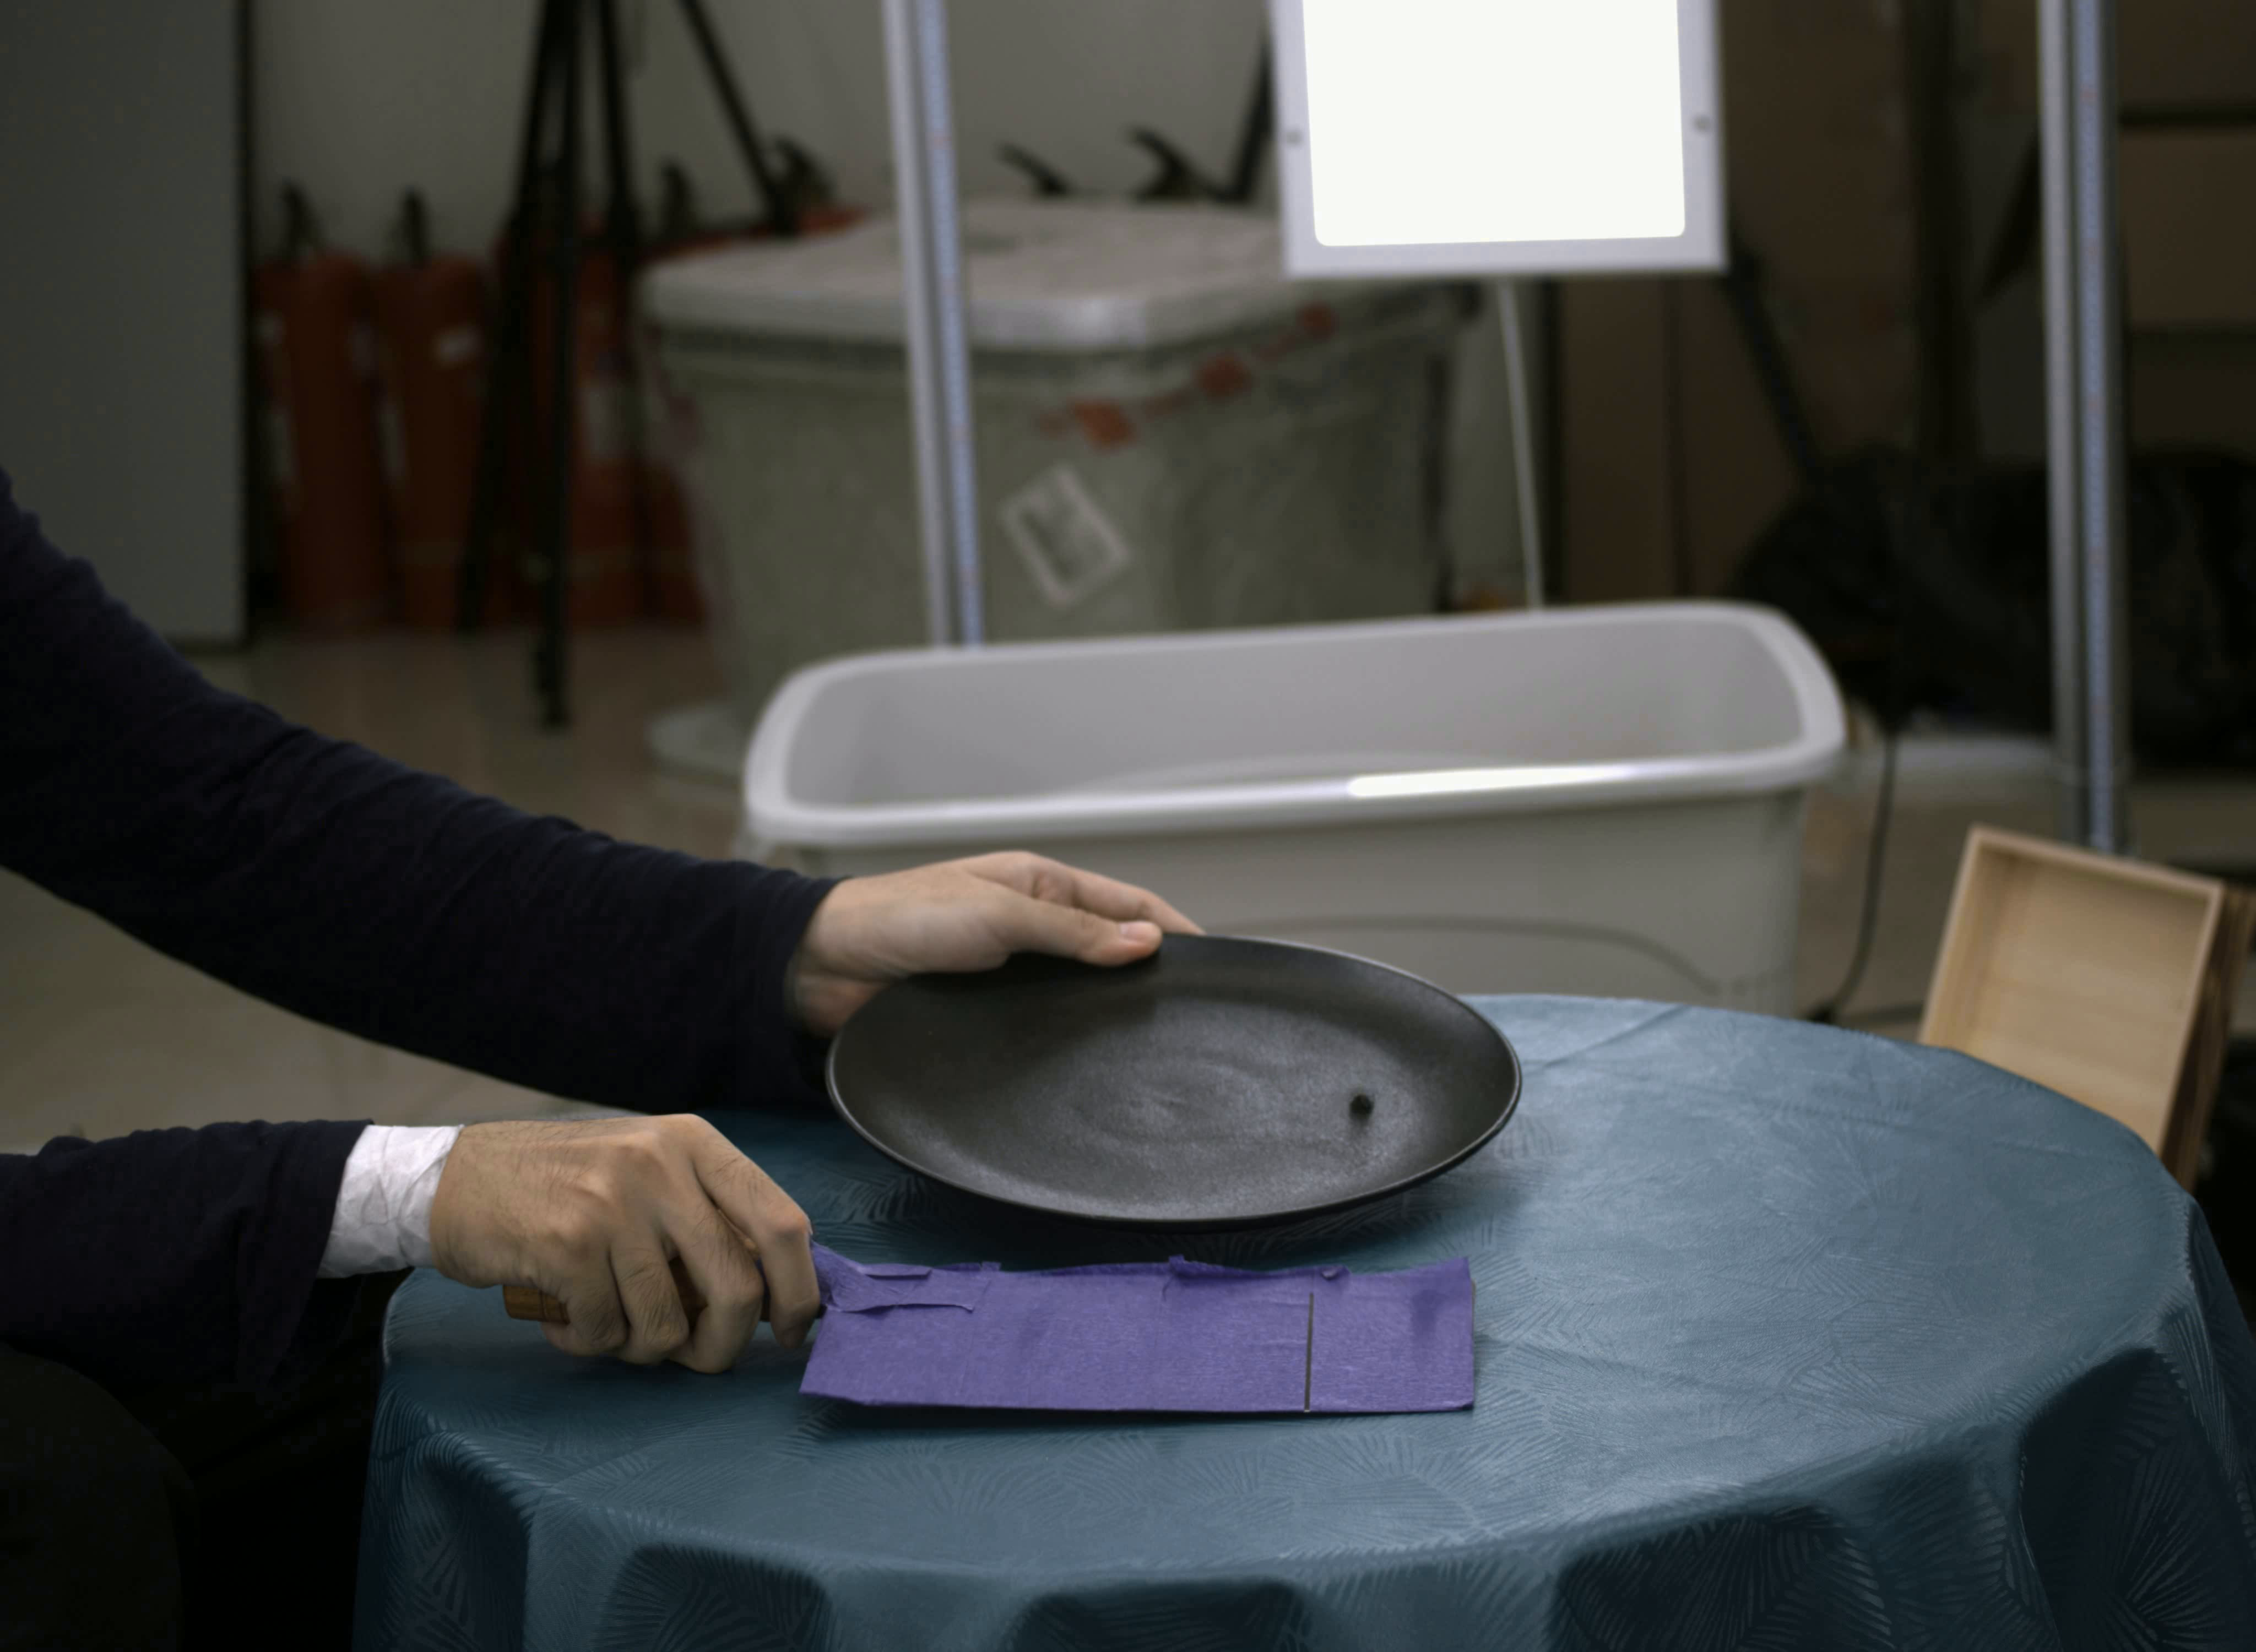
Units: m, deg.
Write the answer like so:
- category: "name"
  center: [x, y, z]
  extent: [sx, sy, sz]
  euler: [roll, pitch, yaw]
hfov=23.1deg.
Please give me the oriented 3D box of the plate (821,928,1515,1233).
- category: "plate"
  center: [0.014, 0.092, 1.918]
  extent: [0.243, 0.023, 0.244]
  euler: [-1, 22, -1]

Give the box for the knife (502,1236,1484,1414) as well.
- category: "knife"
  center: [-0.046, 0.154, 1.720]
  extent: [0.316, 0.032, 0.103]
  euler: [-2, 23, 8]
